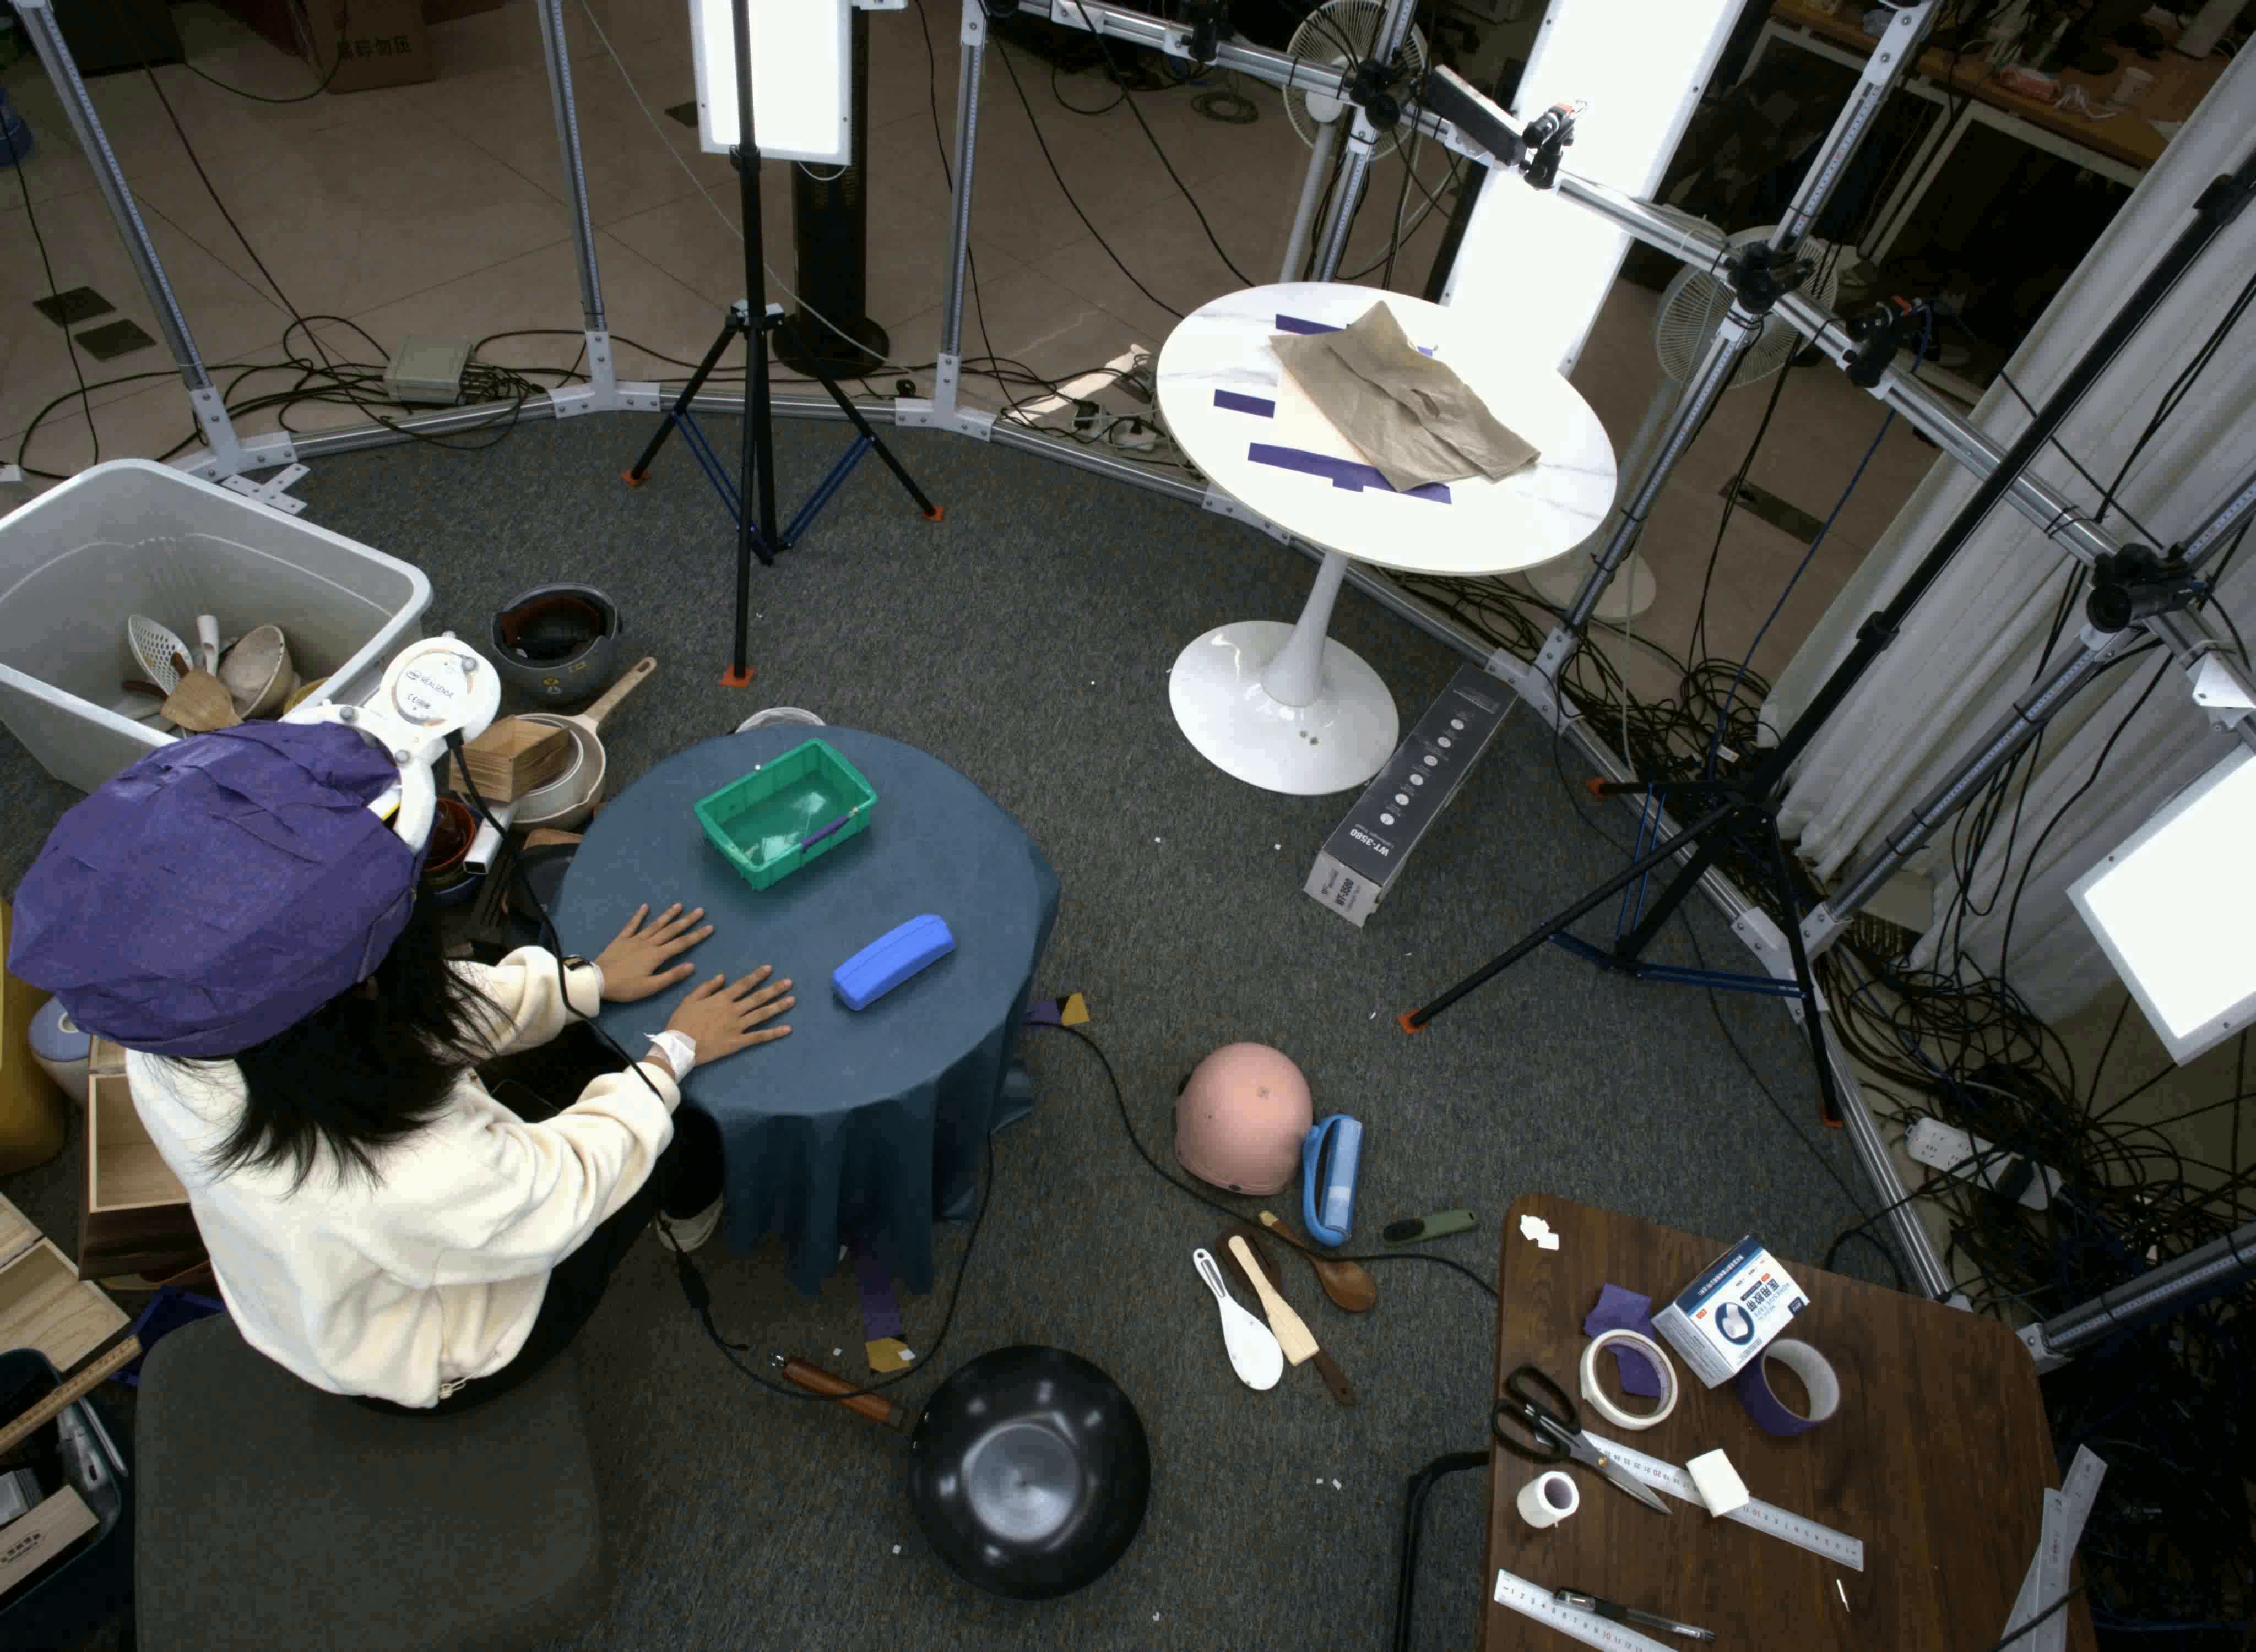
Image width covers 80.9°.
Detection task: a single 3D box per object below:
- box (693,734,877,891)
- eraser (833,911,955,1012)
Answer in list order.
[{"bbox_3d":[-0.444,-0.017,1.687,0.136,0.066,0.211,42,54,15],"label":"box"},{"bbox_3d":[-0.288,0.161,1.605,0.162,0.048,0.052,-34,67,-33],"label":"eraser"}]
